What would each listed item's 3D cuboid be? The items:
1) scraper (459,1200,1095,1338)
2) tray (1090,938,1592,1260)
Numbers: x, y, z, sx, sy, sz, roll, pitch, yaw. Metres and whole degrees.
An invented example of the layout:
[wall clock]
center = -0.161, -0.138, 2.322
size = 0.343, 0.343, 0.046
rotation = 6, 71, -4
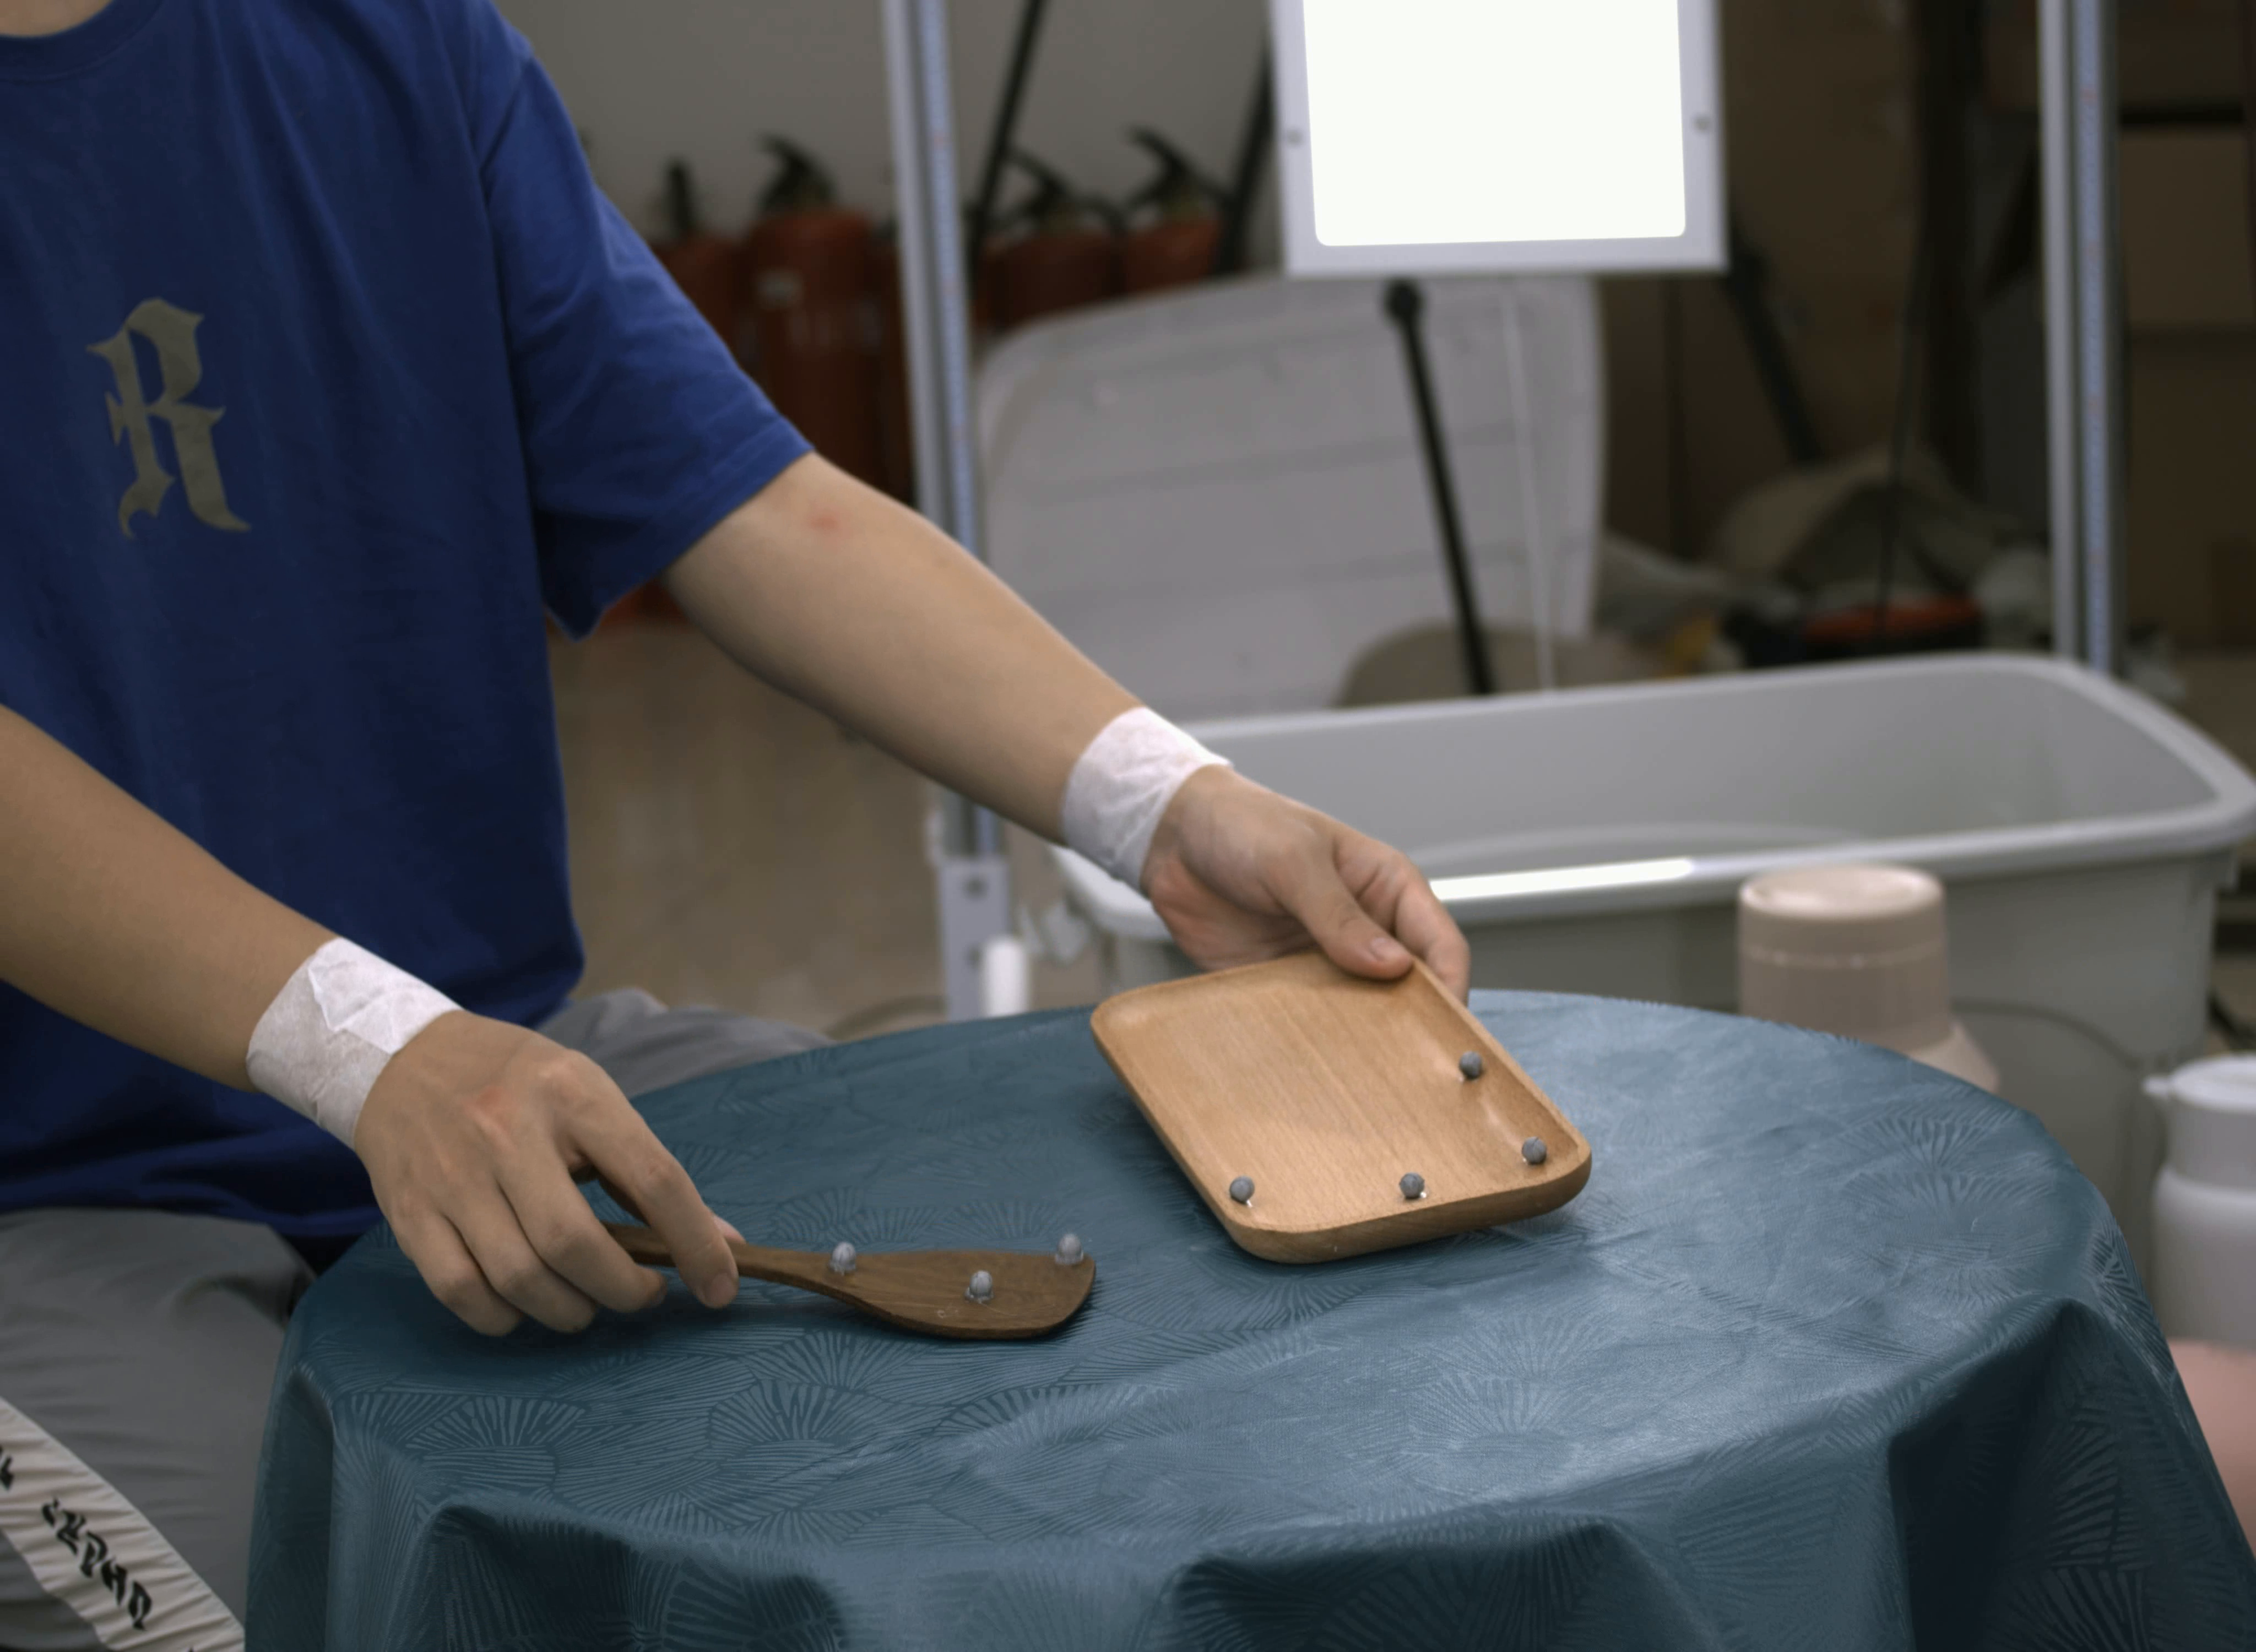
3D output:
[scraper]
center = -0.116, 0.141, 1.805
size = 0.213, 0.011, 0.075
rotation = 6, 20, 12
[tray]
center = 0.071, 0.093, 1.920
size = 0.129, 0.023, 0.252
rotation = -9, 18, -10
